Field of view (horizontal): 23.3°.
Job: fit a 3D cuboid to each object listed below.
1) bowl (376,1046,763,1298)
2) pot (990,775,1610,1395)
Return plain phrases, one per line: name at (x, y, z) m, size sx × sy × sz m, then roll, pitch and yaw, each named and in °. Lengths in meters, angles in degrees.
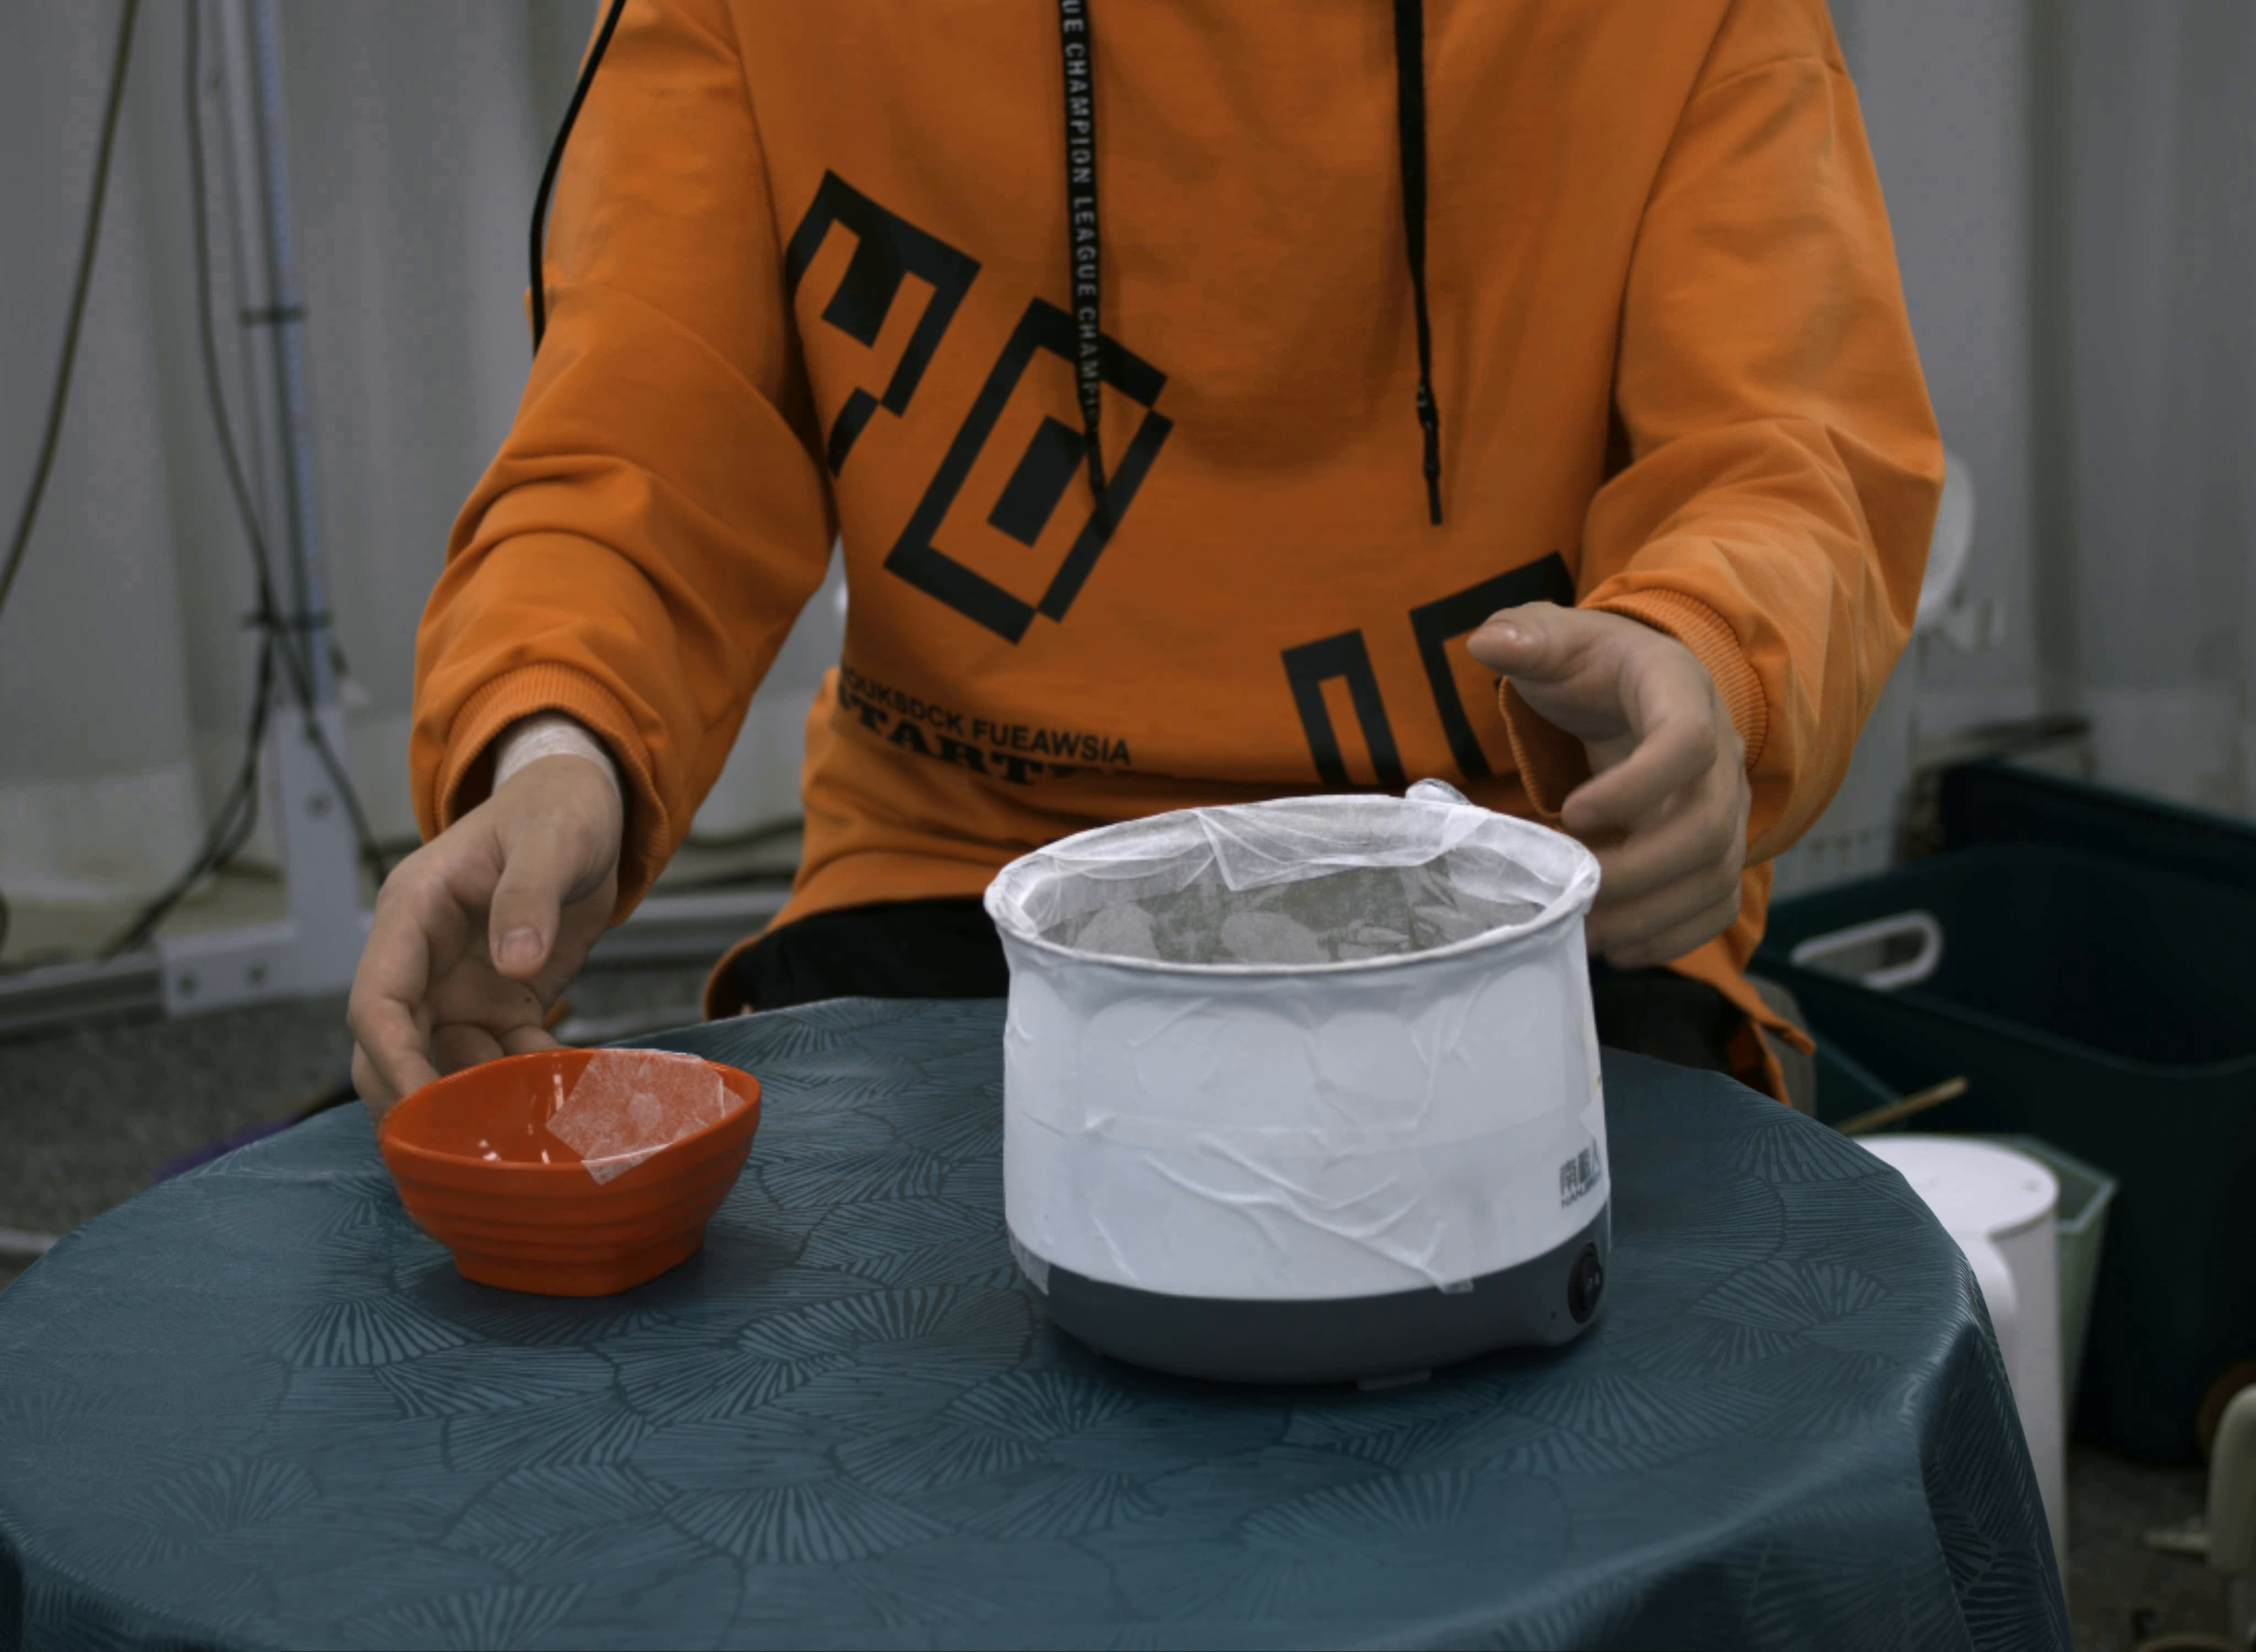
bowl at (-0.168, 0.108, 1.675) m, size 0.118 × 0.051 × 0.120 m, roll -4°, pitch 15°, yaw 1°
pot at (0.062, 0.069, 1.609) m, size 0.179 × 0.136 × 0.234 m, roll 5°, pitch 17°, yaw 25°
